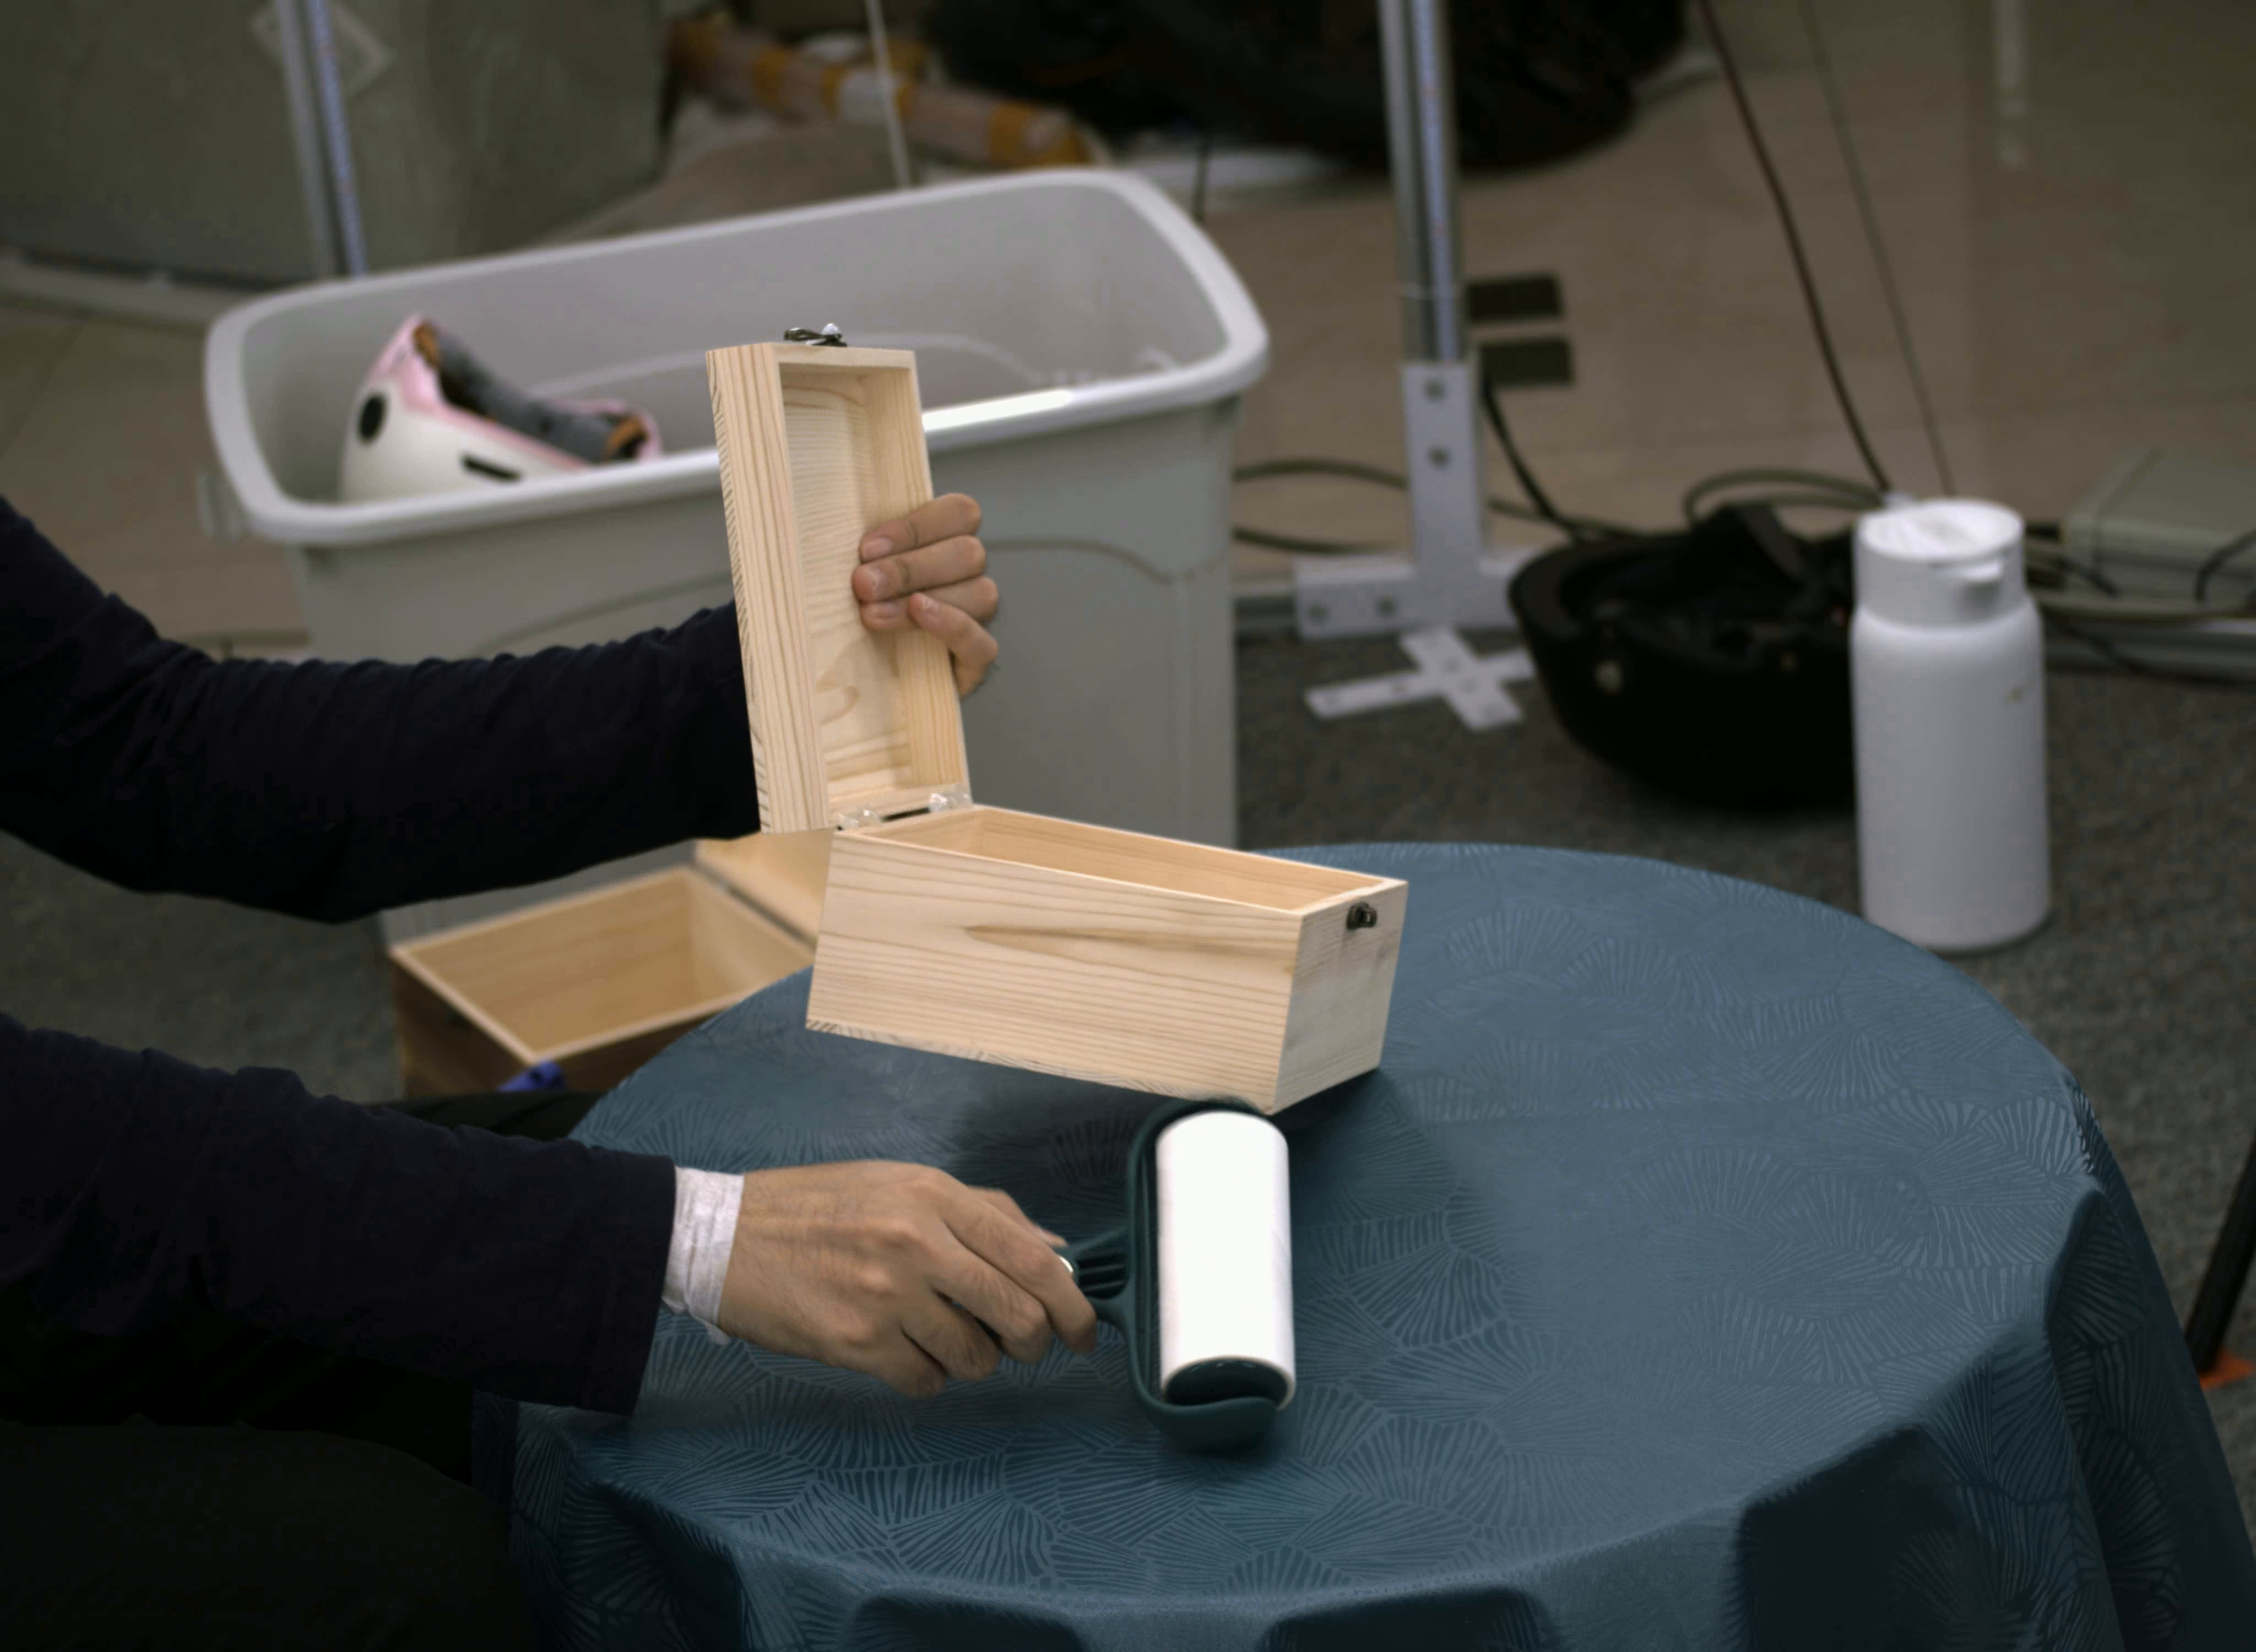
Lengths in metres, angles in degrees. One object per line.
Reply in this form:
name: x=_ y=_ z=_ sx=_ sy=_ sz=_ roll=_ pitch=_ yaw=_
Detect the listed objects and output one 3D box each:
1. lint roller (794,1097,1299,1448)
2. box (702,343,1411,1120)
lint roller: x=-0.031 y=0.163 z=2.002 sx=0.180 sy=0.049 sz=0.132 roll=-4 pitch=50 yaw=3
box: x=-0.024 y=-0.043 z=2.150 sx=0.264 sy=0.255 sz=0.181 roll=10 pitch=9 yaw=13
